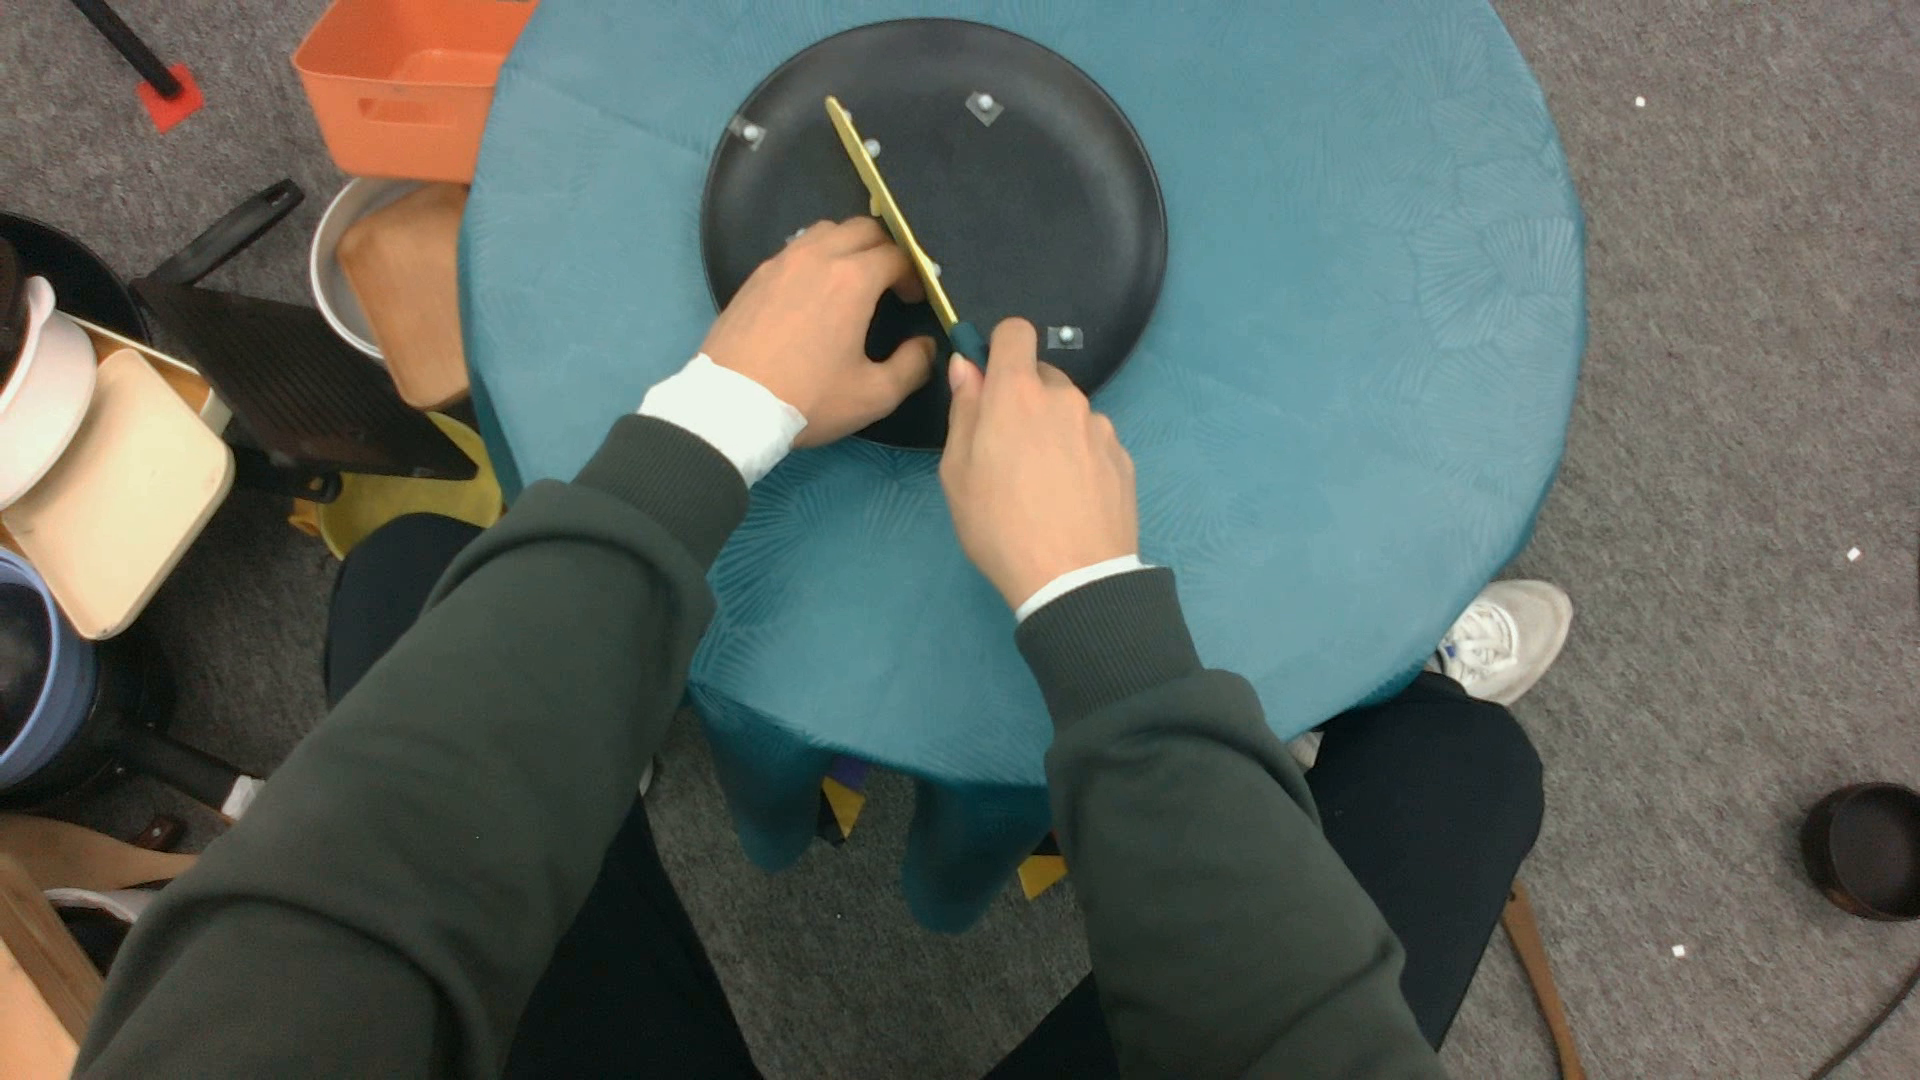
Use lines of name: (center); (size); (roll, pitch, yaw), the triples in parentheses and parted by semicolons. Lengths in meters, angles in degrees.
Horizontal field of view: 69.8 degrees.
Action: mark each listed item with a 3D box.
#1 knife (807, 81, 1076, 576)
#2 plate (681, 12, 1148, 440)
knife: (-0.015, -0.109, 0.673); (0.027, 0.081, 0.290); (-27, 76, 1)
plate: (-0.022, -0.166, 0.724); (0.244, 0.023, 0.245); (1, 76, -4)
